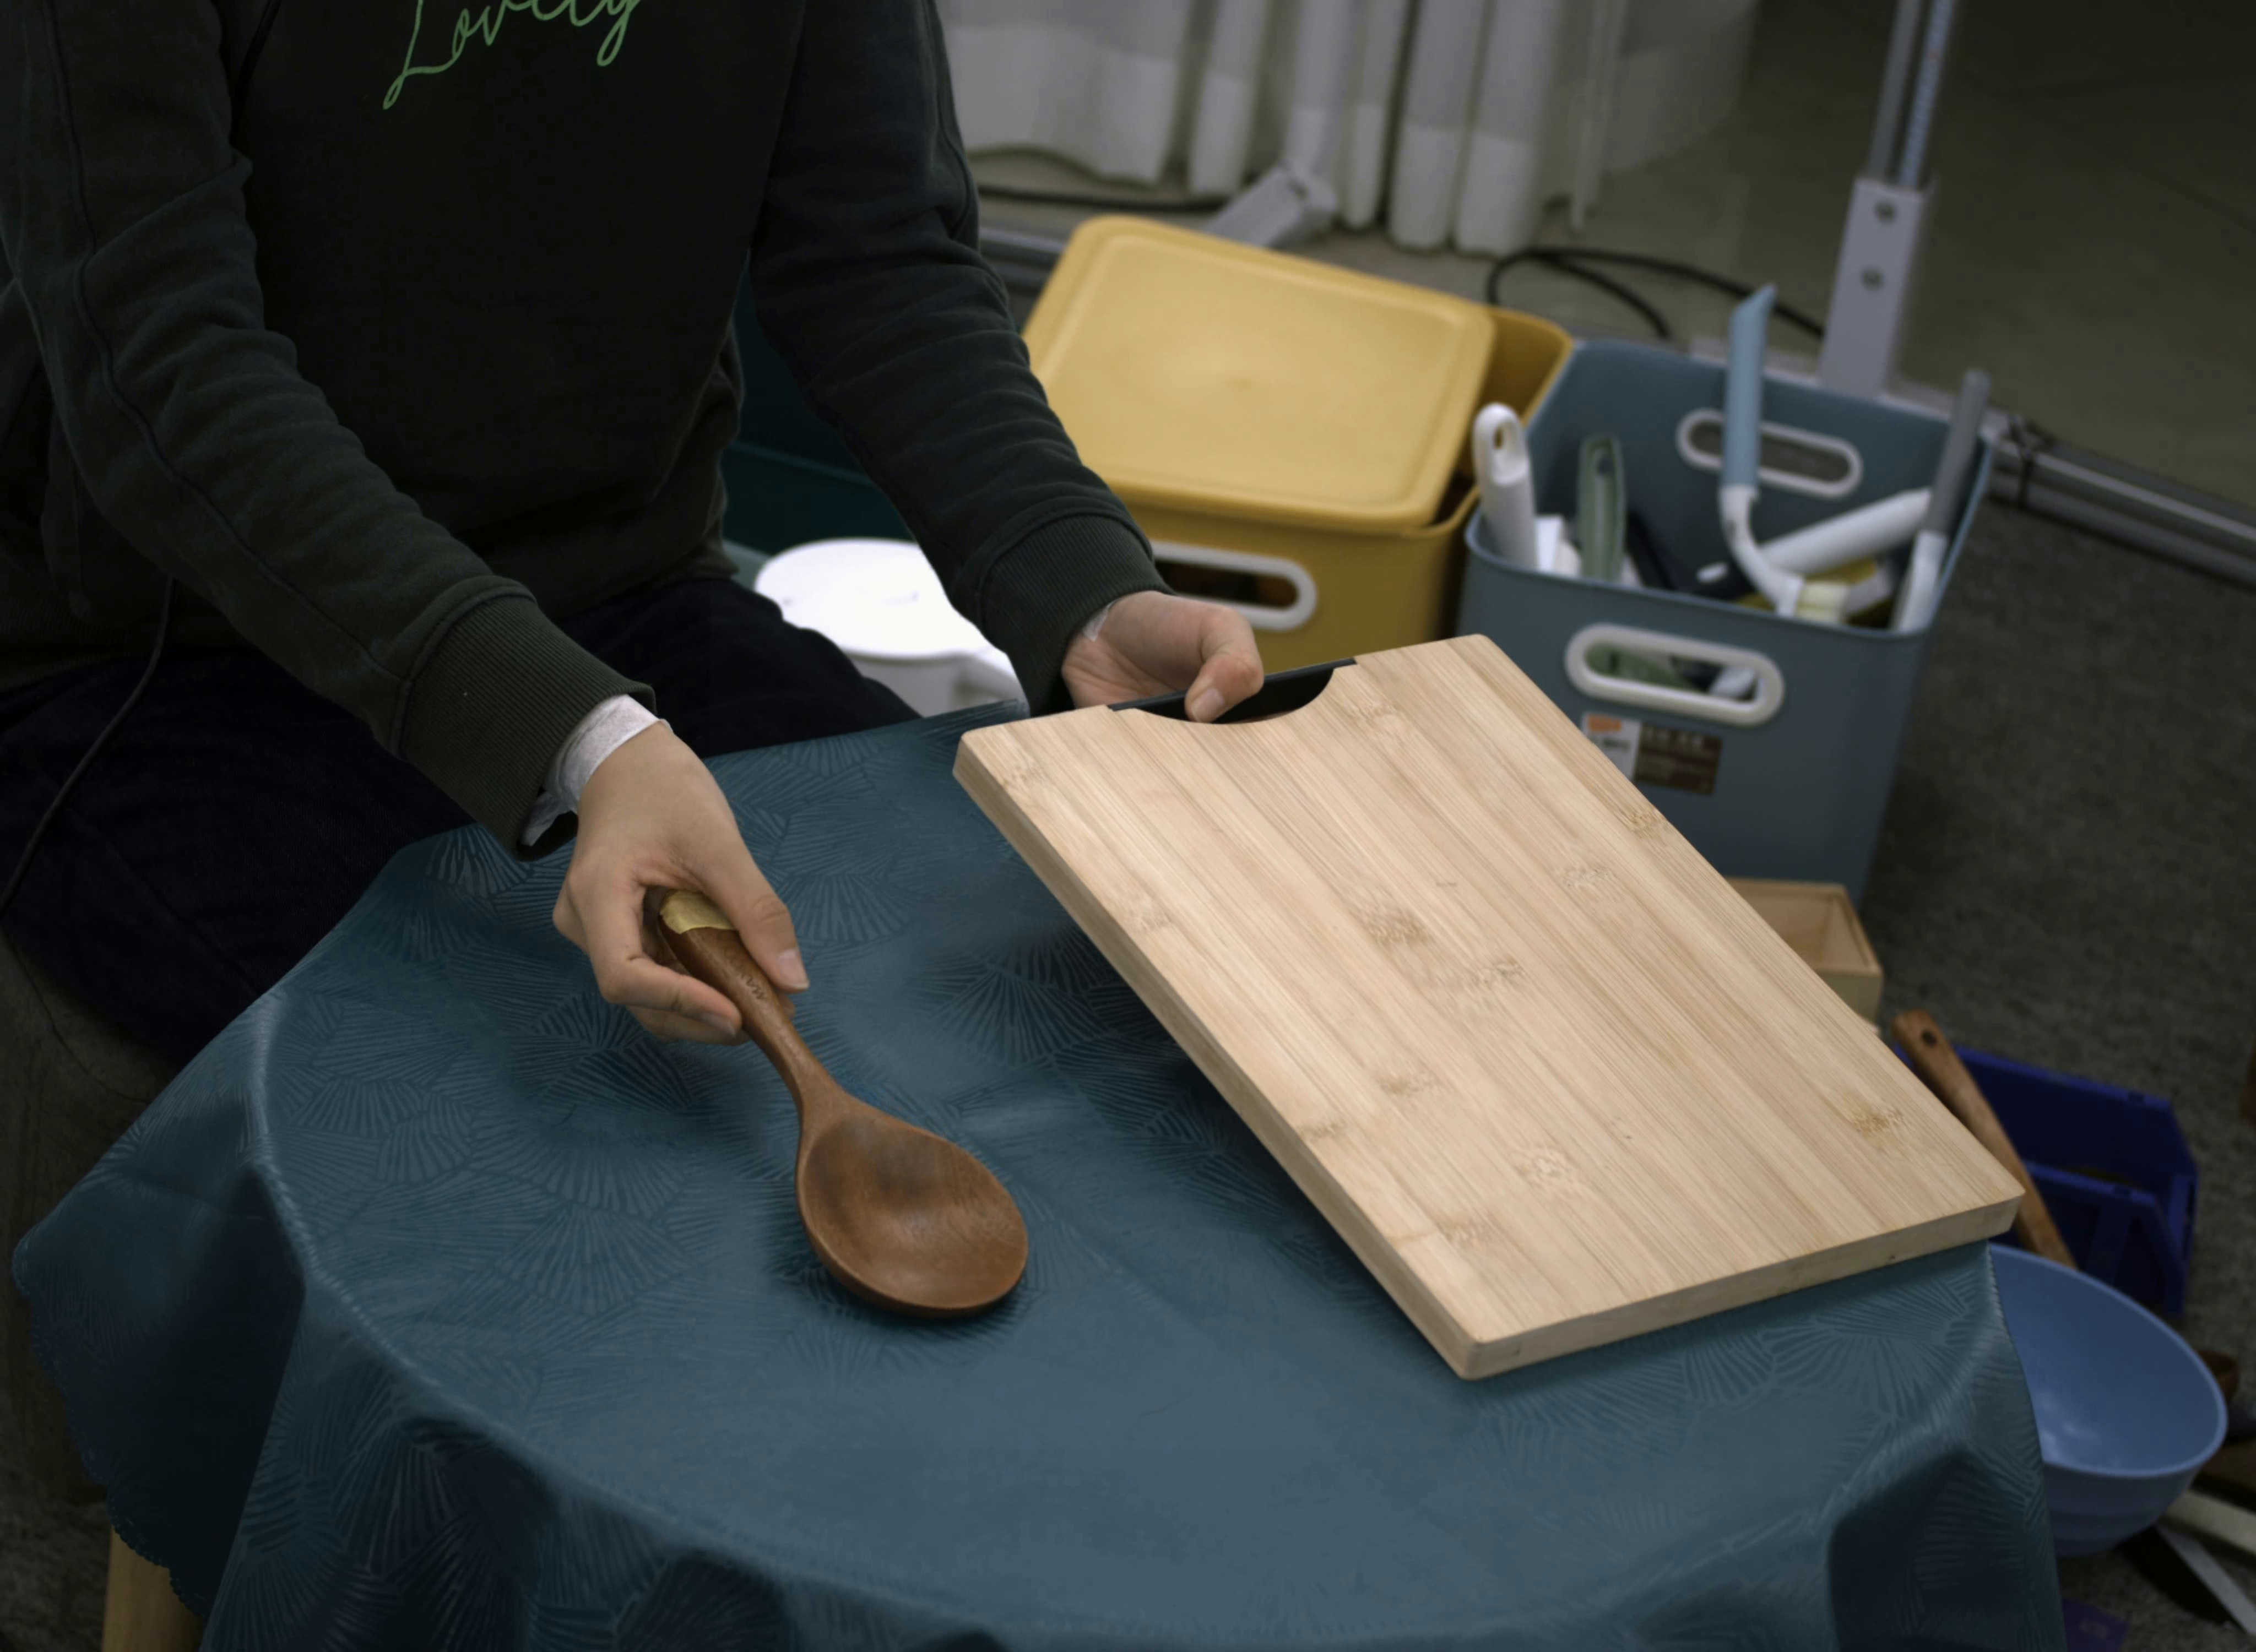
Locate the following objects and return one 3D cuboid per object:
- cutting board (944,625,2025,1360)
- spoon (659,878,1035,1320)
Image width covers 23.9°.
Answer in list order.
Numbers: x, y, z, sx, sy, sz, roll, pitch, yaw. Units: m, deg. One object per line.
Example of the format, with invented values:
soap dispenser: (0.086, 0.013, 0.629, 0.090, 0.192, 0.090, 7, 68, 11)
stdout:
cutting board: (0.120, 0.050, 1.884, 0.249, 0.023, 0.352, -11, 42, -32)
spoon: (-0.102, 0.091, 1.780, 0.075, 0.017, 0.218, -14, 47, -28)
